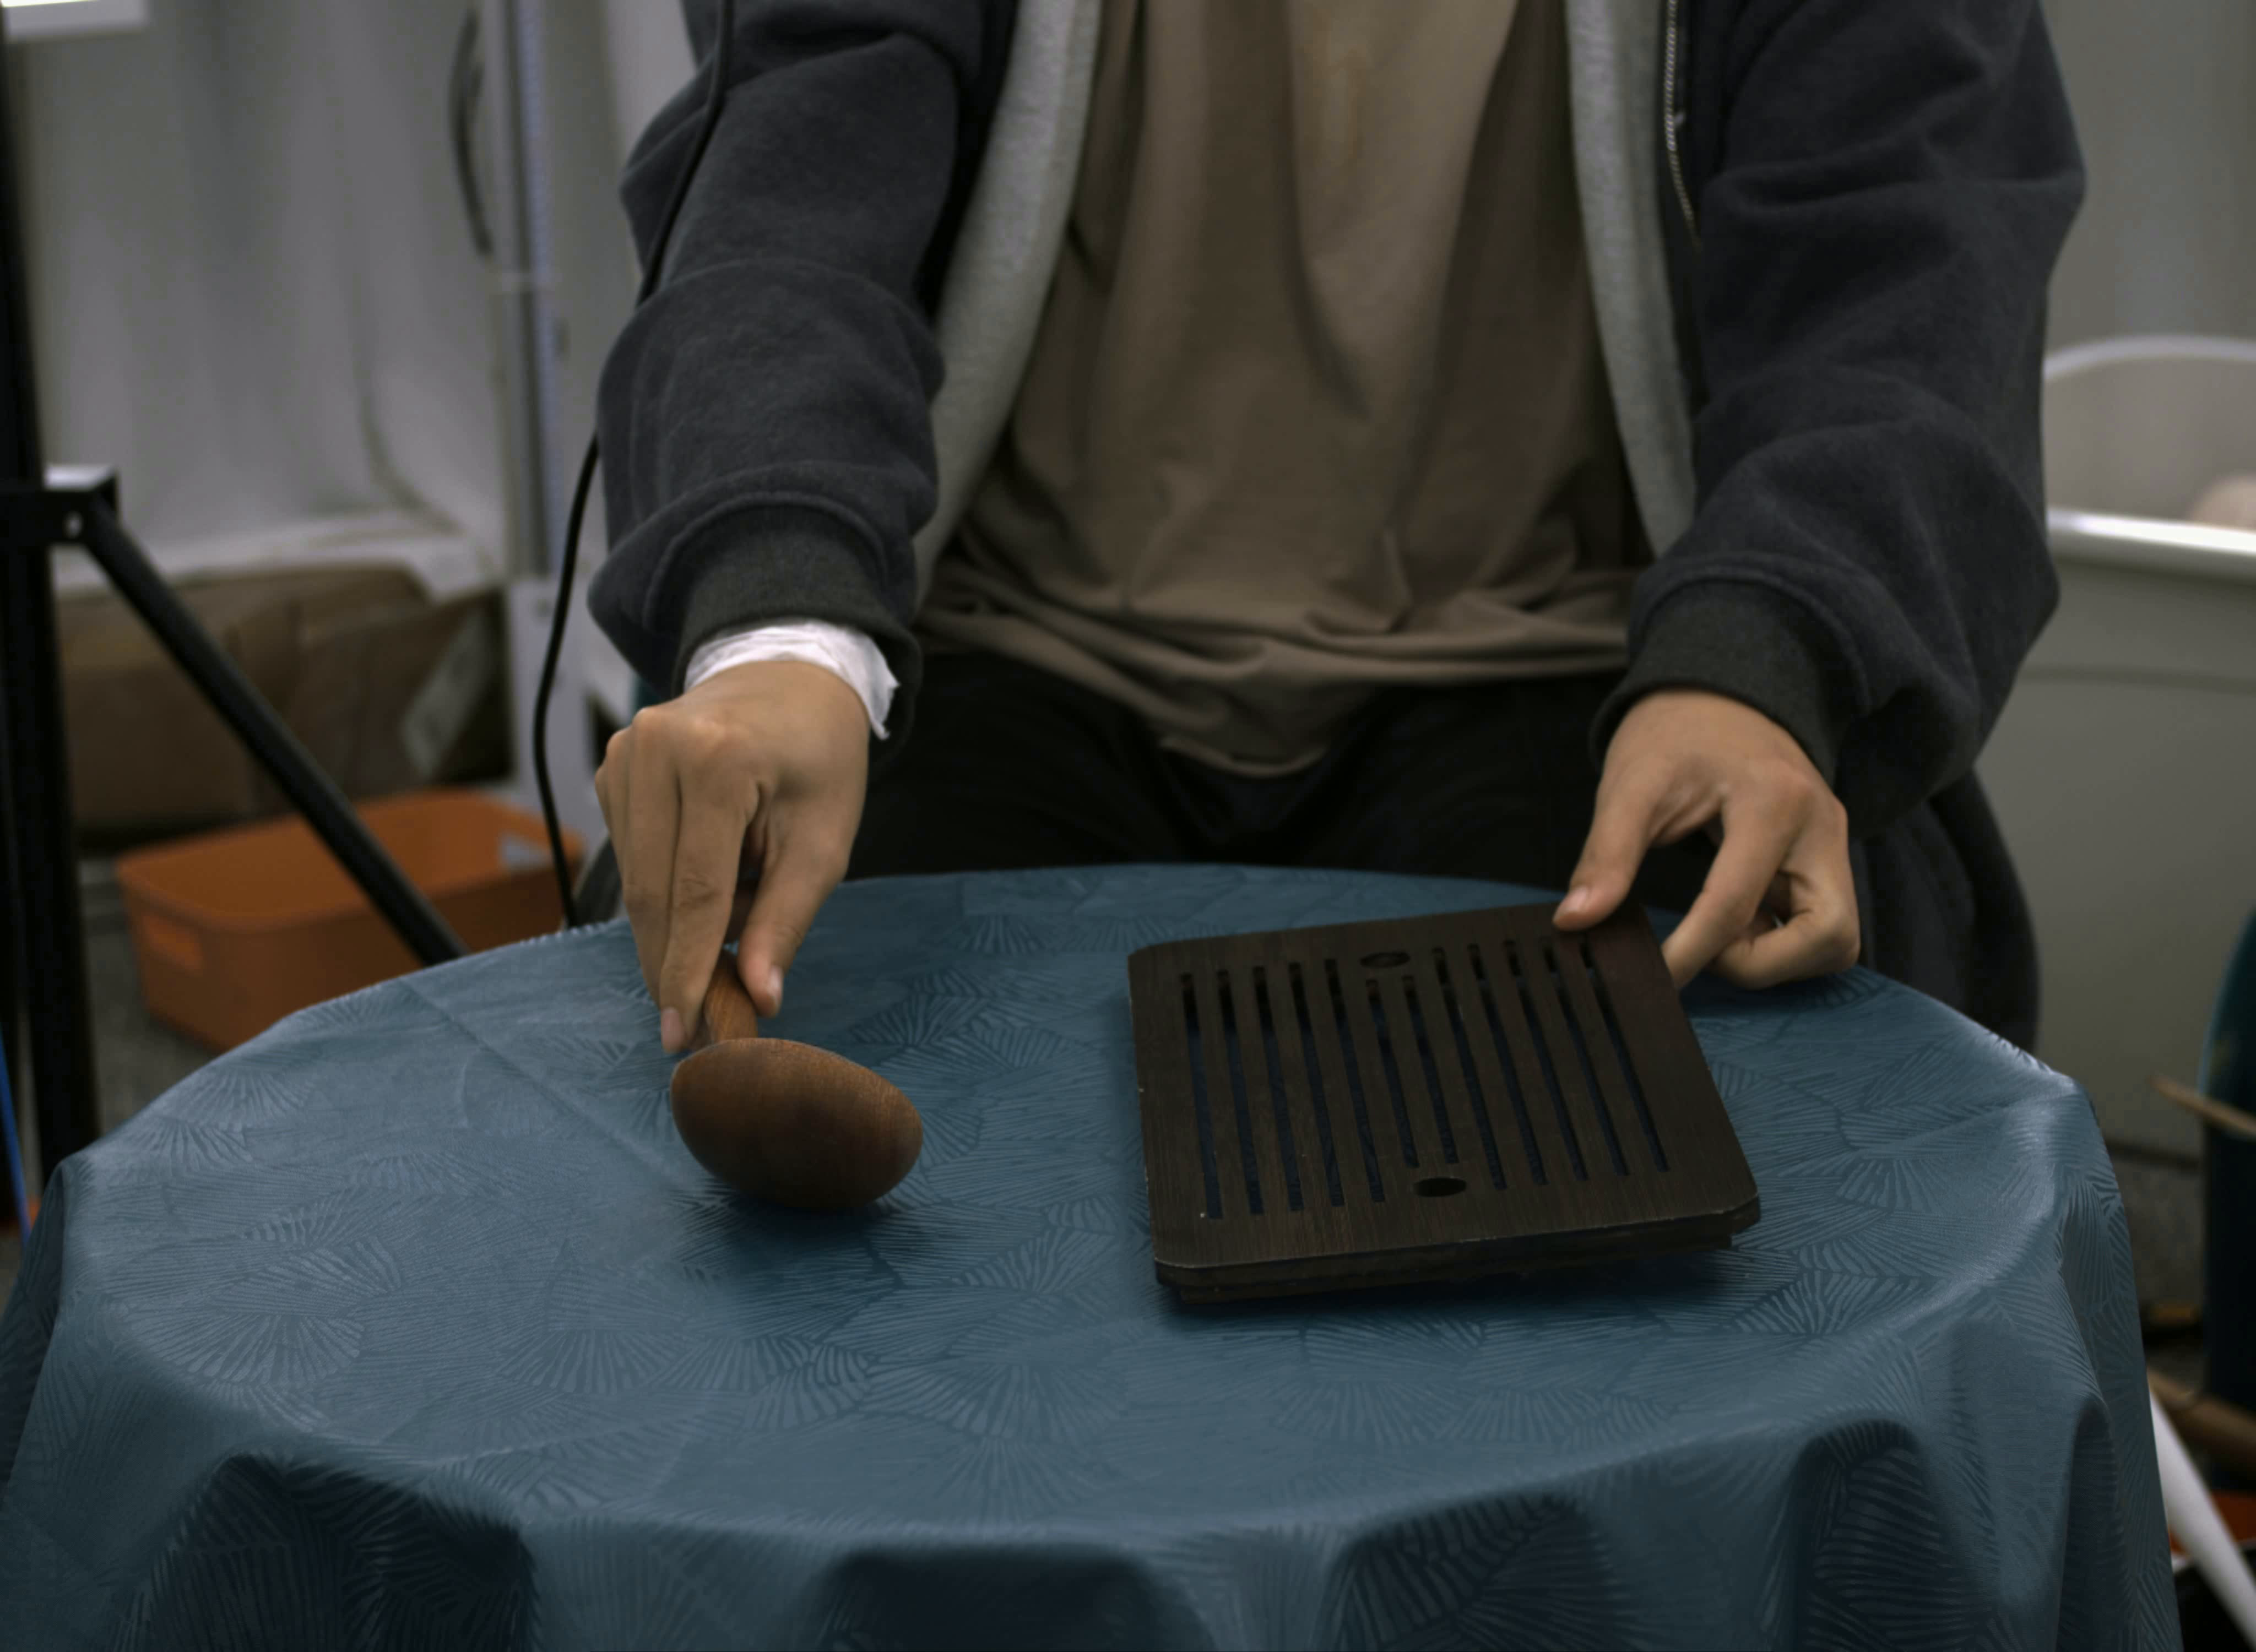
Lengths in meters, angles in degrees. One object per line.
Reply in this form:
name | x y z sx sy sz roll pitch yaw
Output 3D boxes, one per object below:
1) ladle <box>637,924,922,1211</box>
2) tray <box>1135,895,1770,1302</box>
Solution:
ladle | -0.116 0.057 1.635 0.075 0.065 0.263 28 10 -17
tray | 0.090 0.079 1.596 0.169 0.018 0.307 -6 16 1
